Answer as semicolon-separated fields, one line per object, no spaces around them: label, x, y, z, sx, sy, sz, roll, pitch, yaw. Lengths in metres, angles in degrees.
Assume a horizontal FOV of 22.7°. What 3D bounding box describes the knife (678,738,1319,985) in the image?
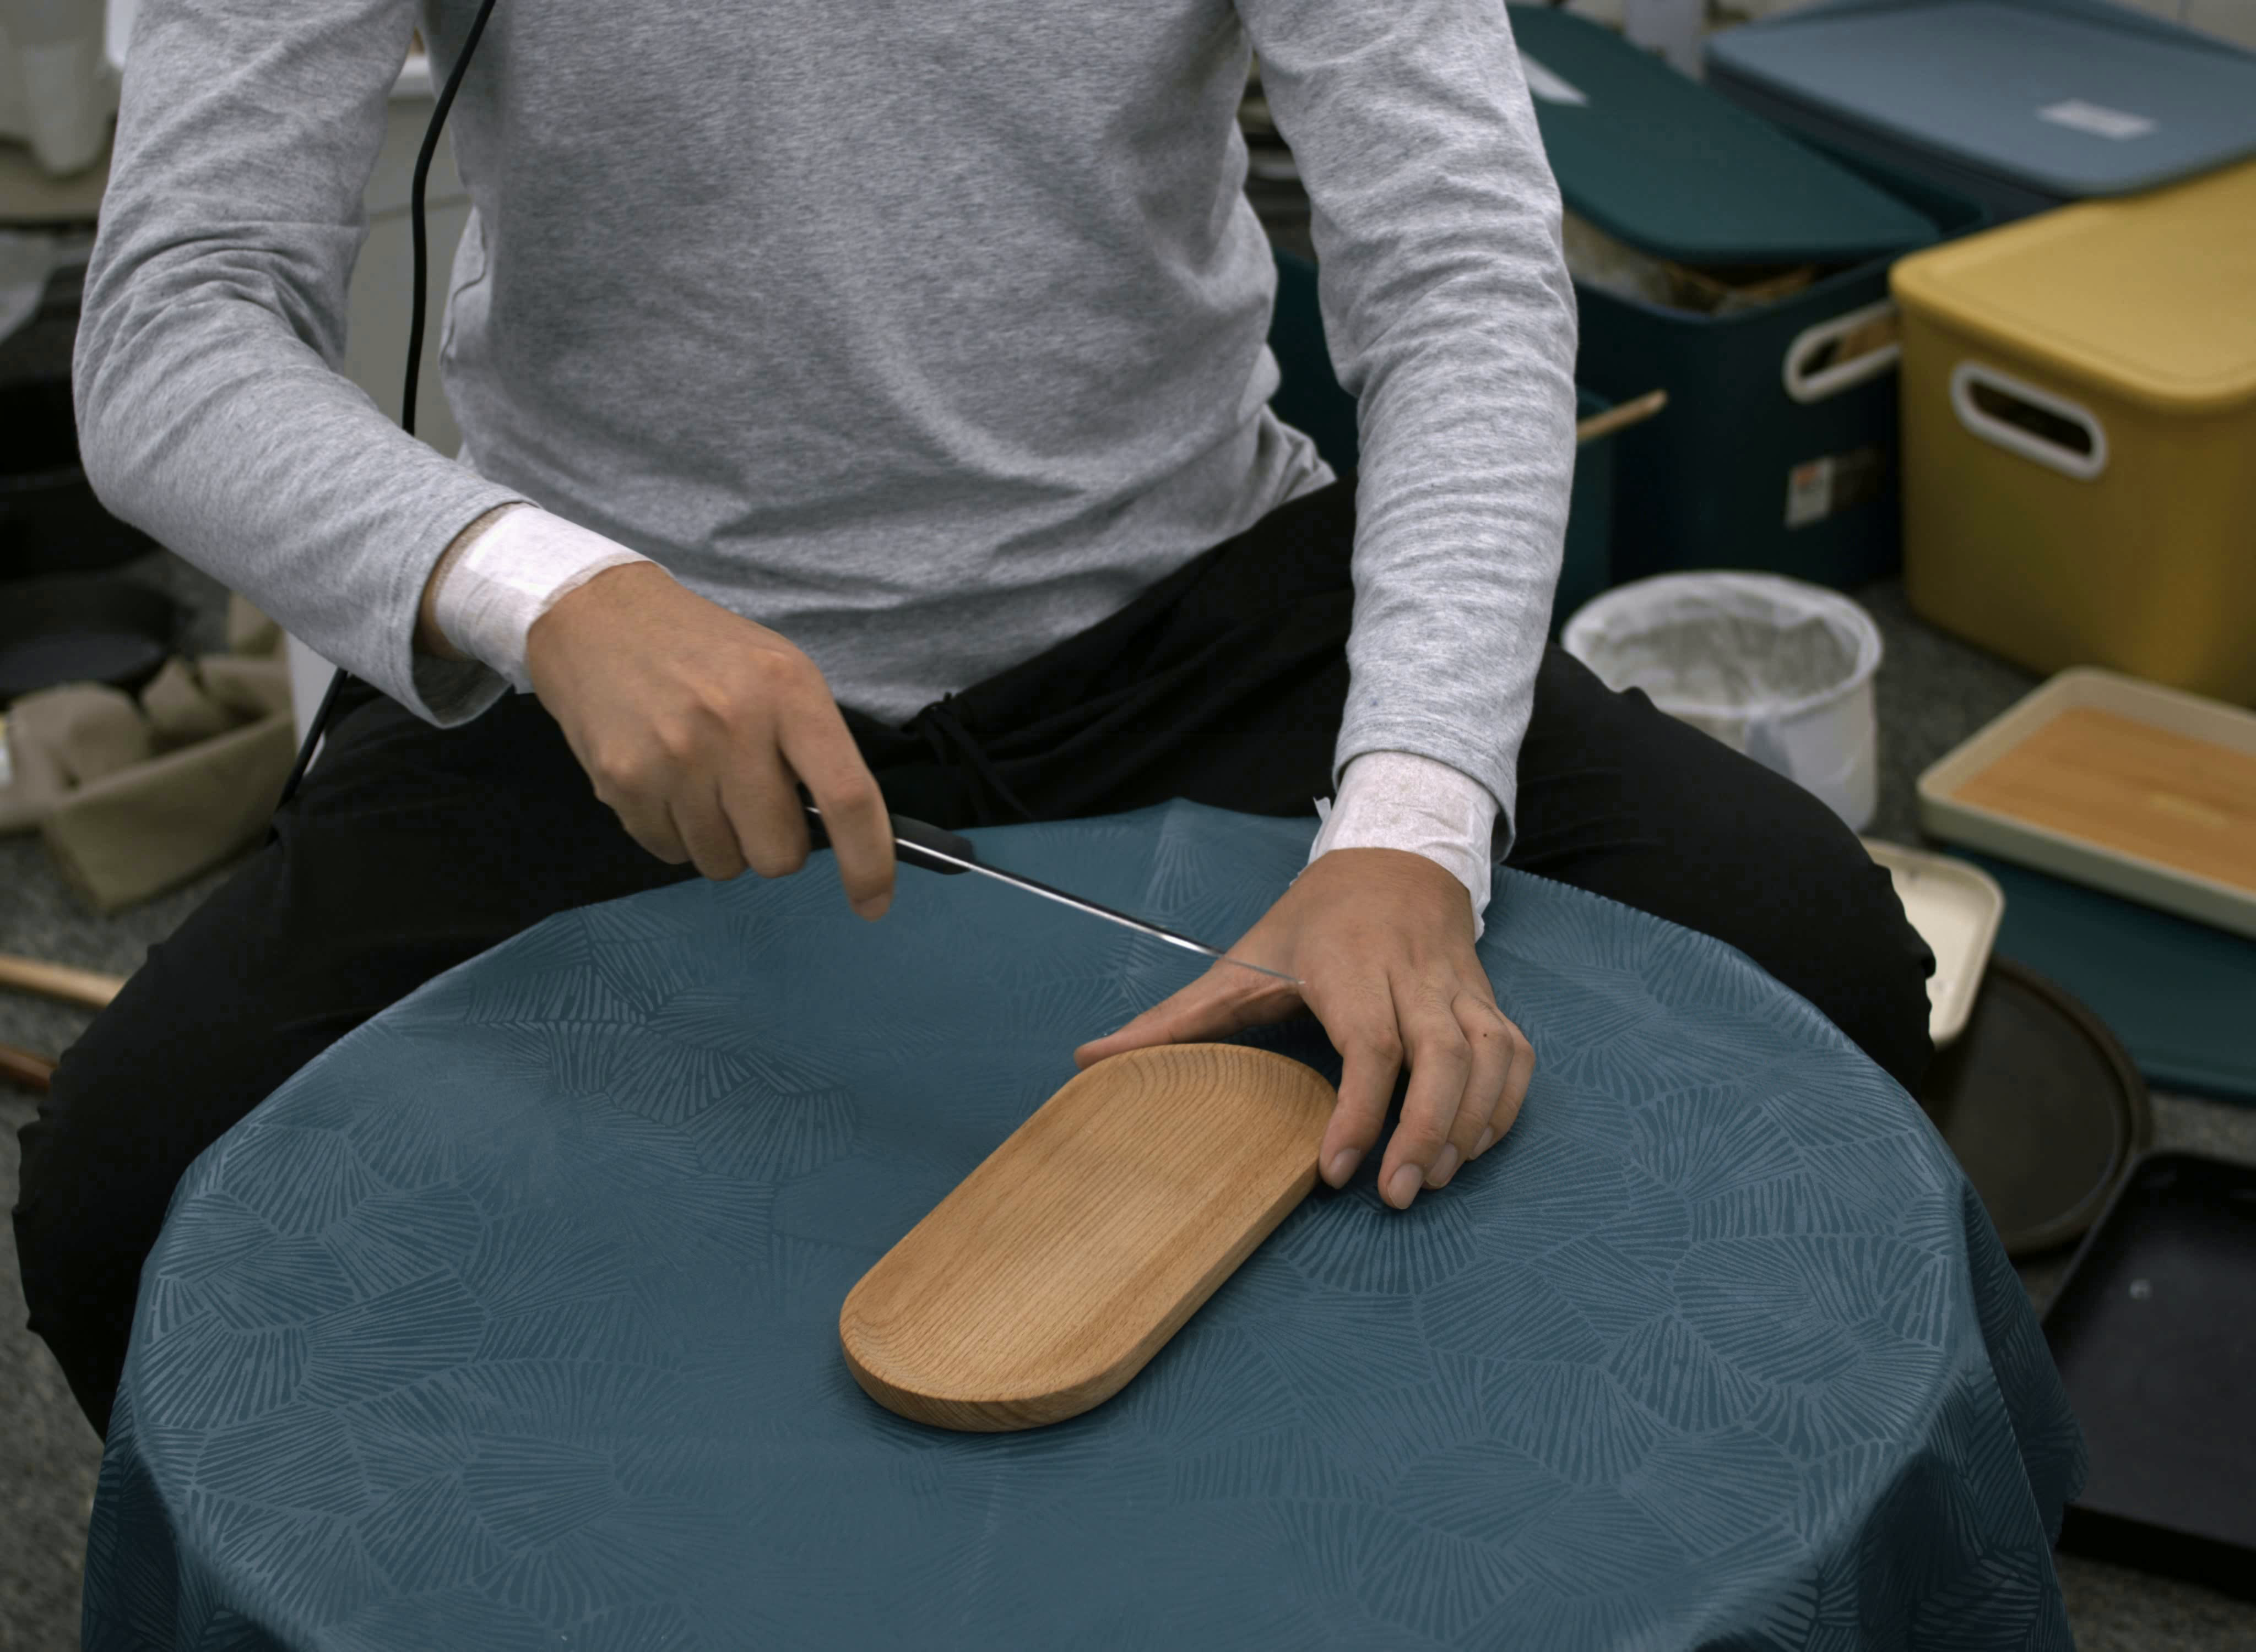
knife;-0.046;0.013;1.839;0.237;0.016;0.024;19;6;19

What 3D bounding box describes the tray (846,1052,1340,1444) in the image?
tray;-0.009;0.135;1.821;0.101;0.020;0.235;8;30;25
